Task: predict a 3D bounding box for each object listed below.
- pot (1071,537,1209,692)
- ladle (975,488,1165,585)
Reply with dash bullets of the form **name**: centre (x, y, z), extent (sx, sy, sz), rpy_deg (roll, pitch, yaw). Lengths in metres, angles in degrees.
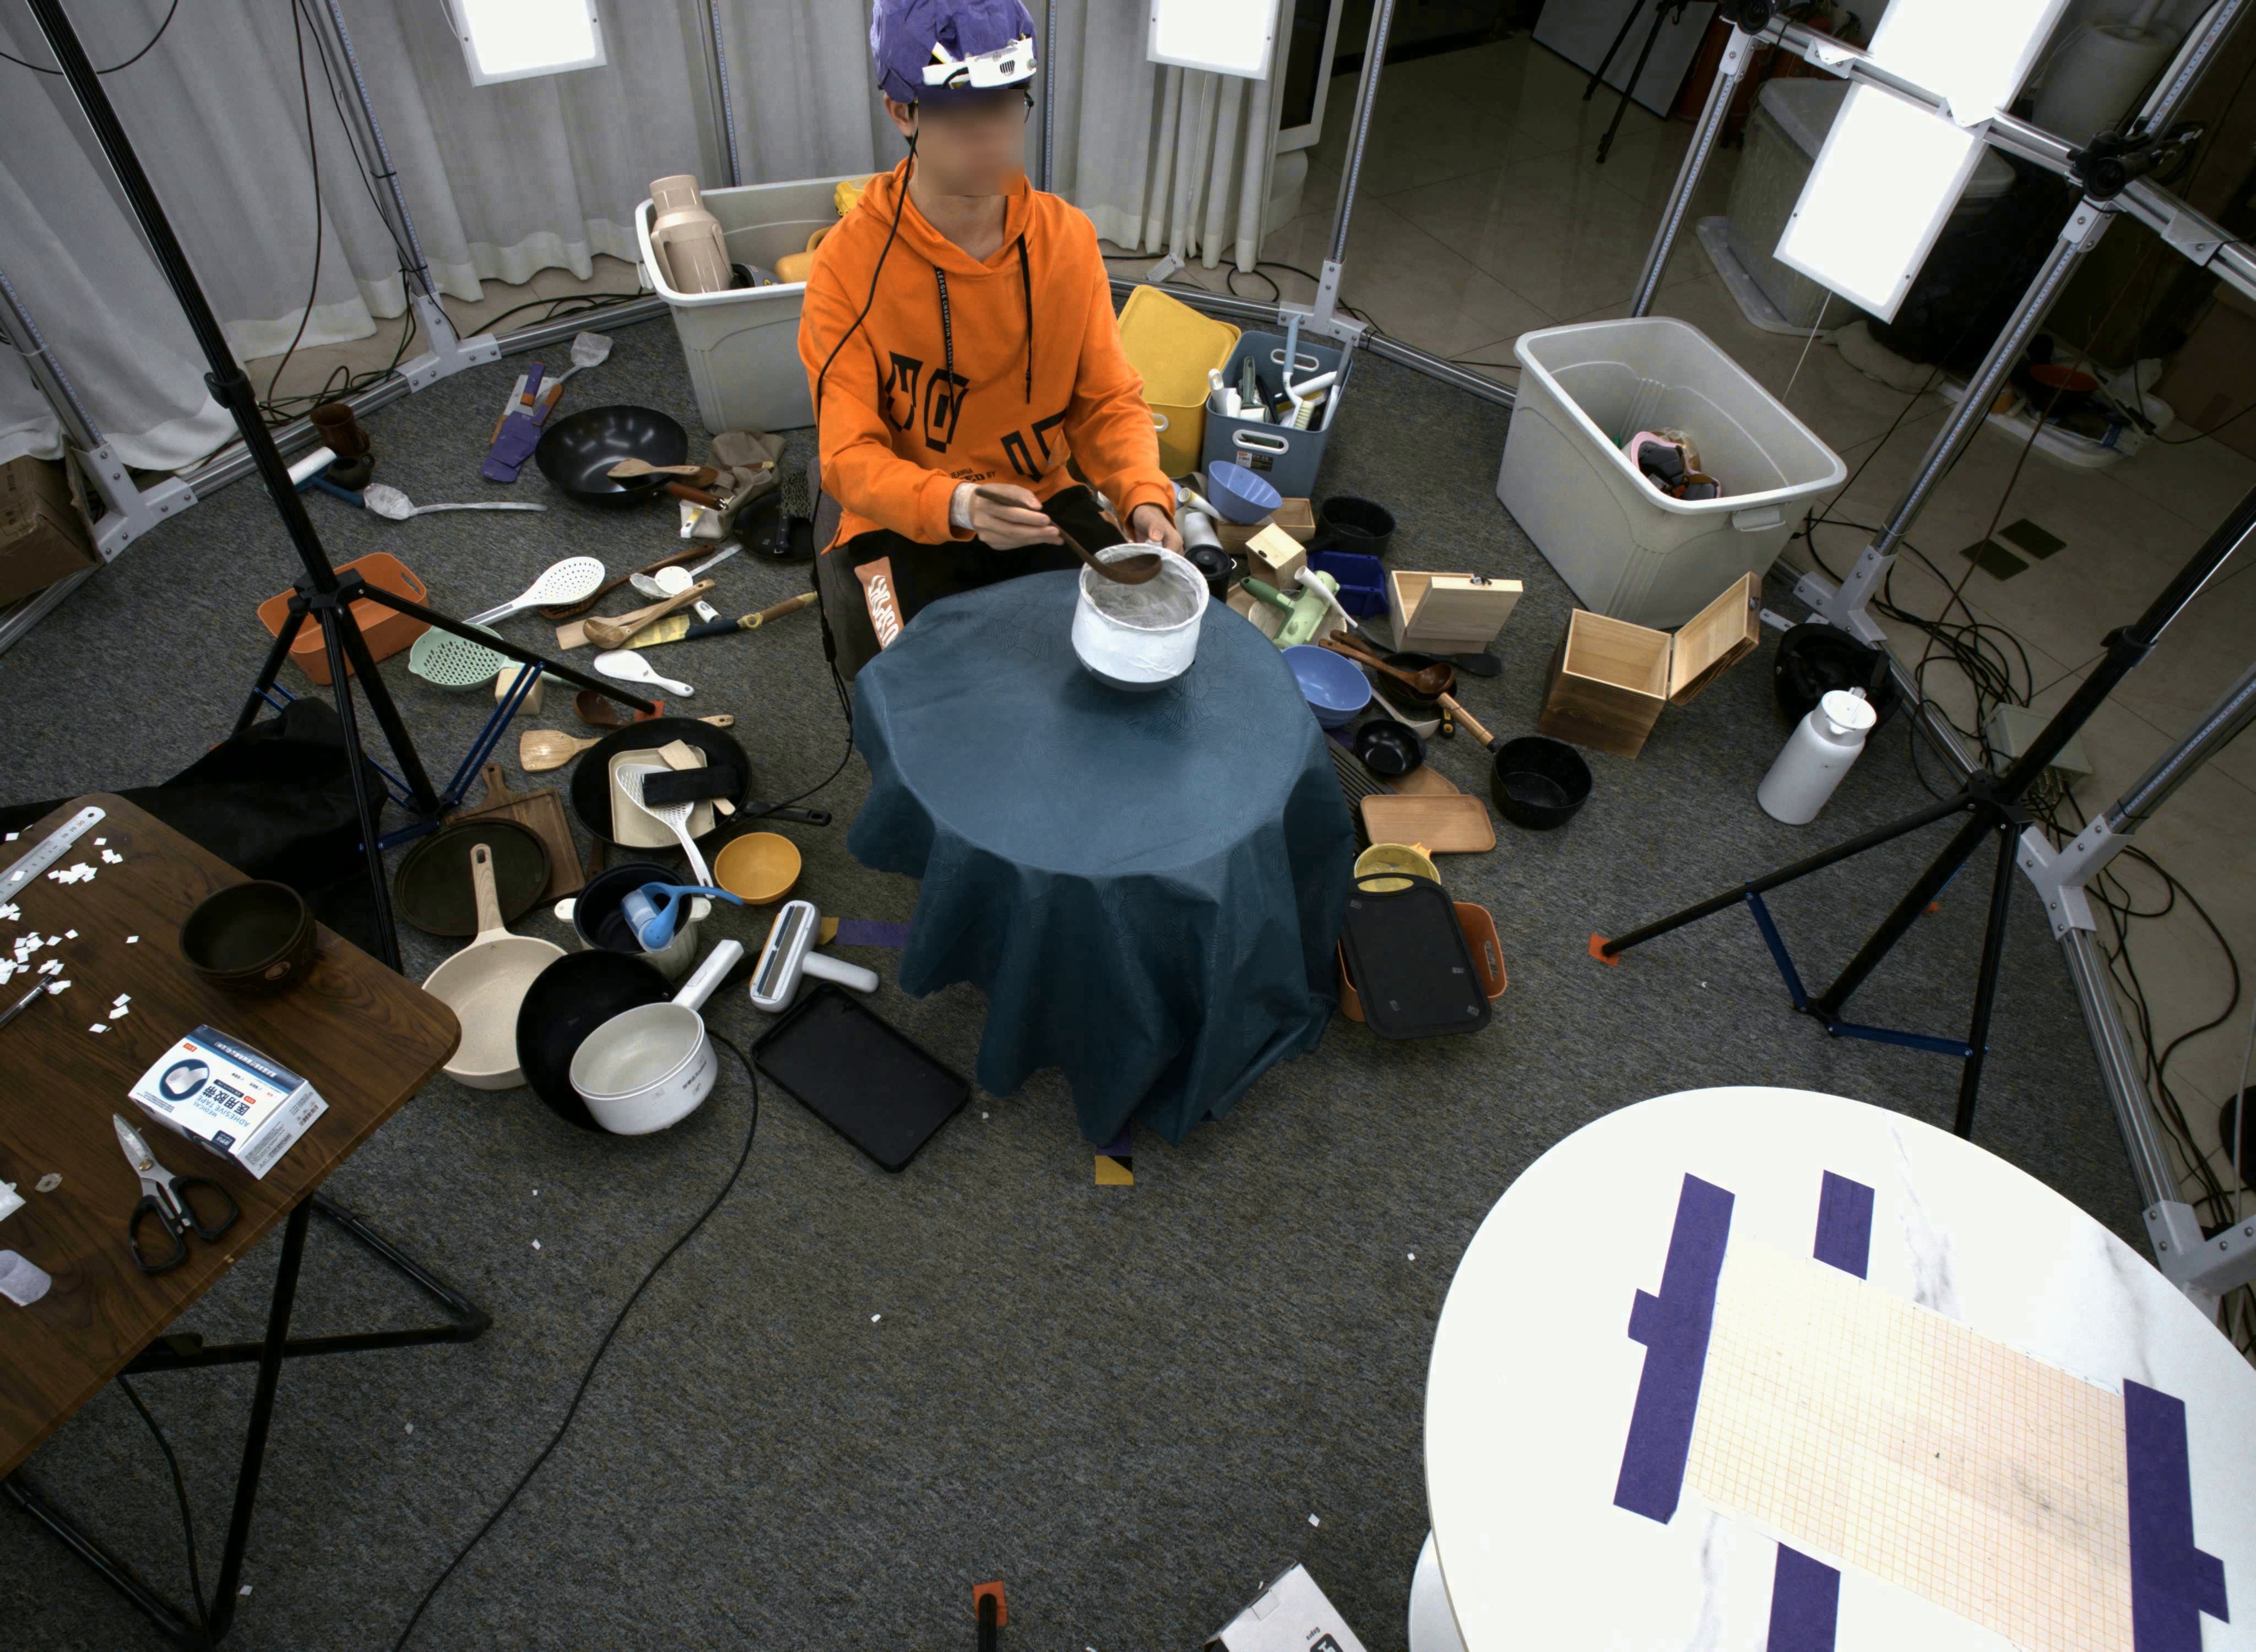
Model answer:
- **pot**: centre (0.016, -0.305, 1.793), extent (0.178, 0.133, 0.239), rpy_deg (11, 49, -1)
- **ladle**: centre (-0.069, -0.395, 1.693), extent (0.270, 0.071, 0.077), rpy_deg (29, 3, -29)
